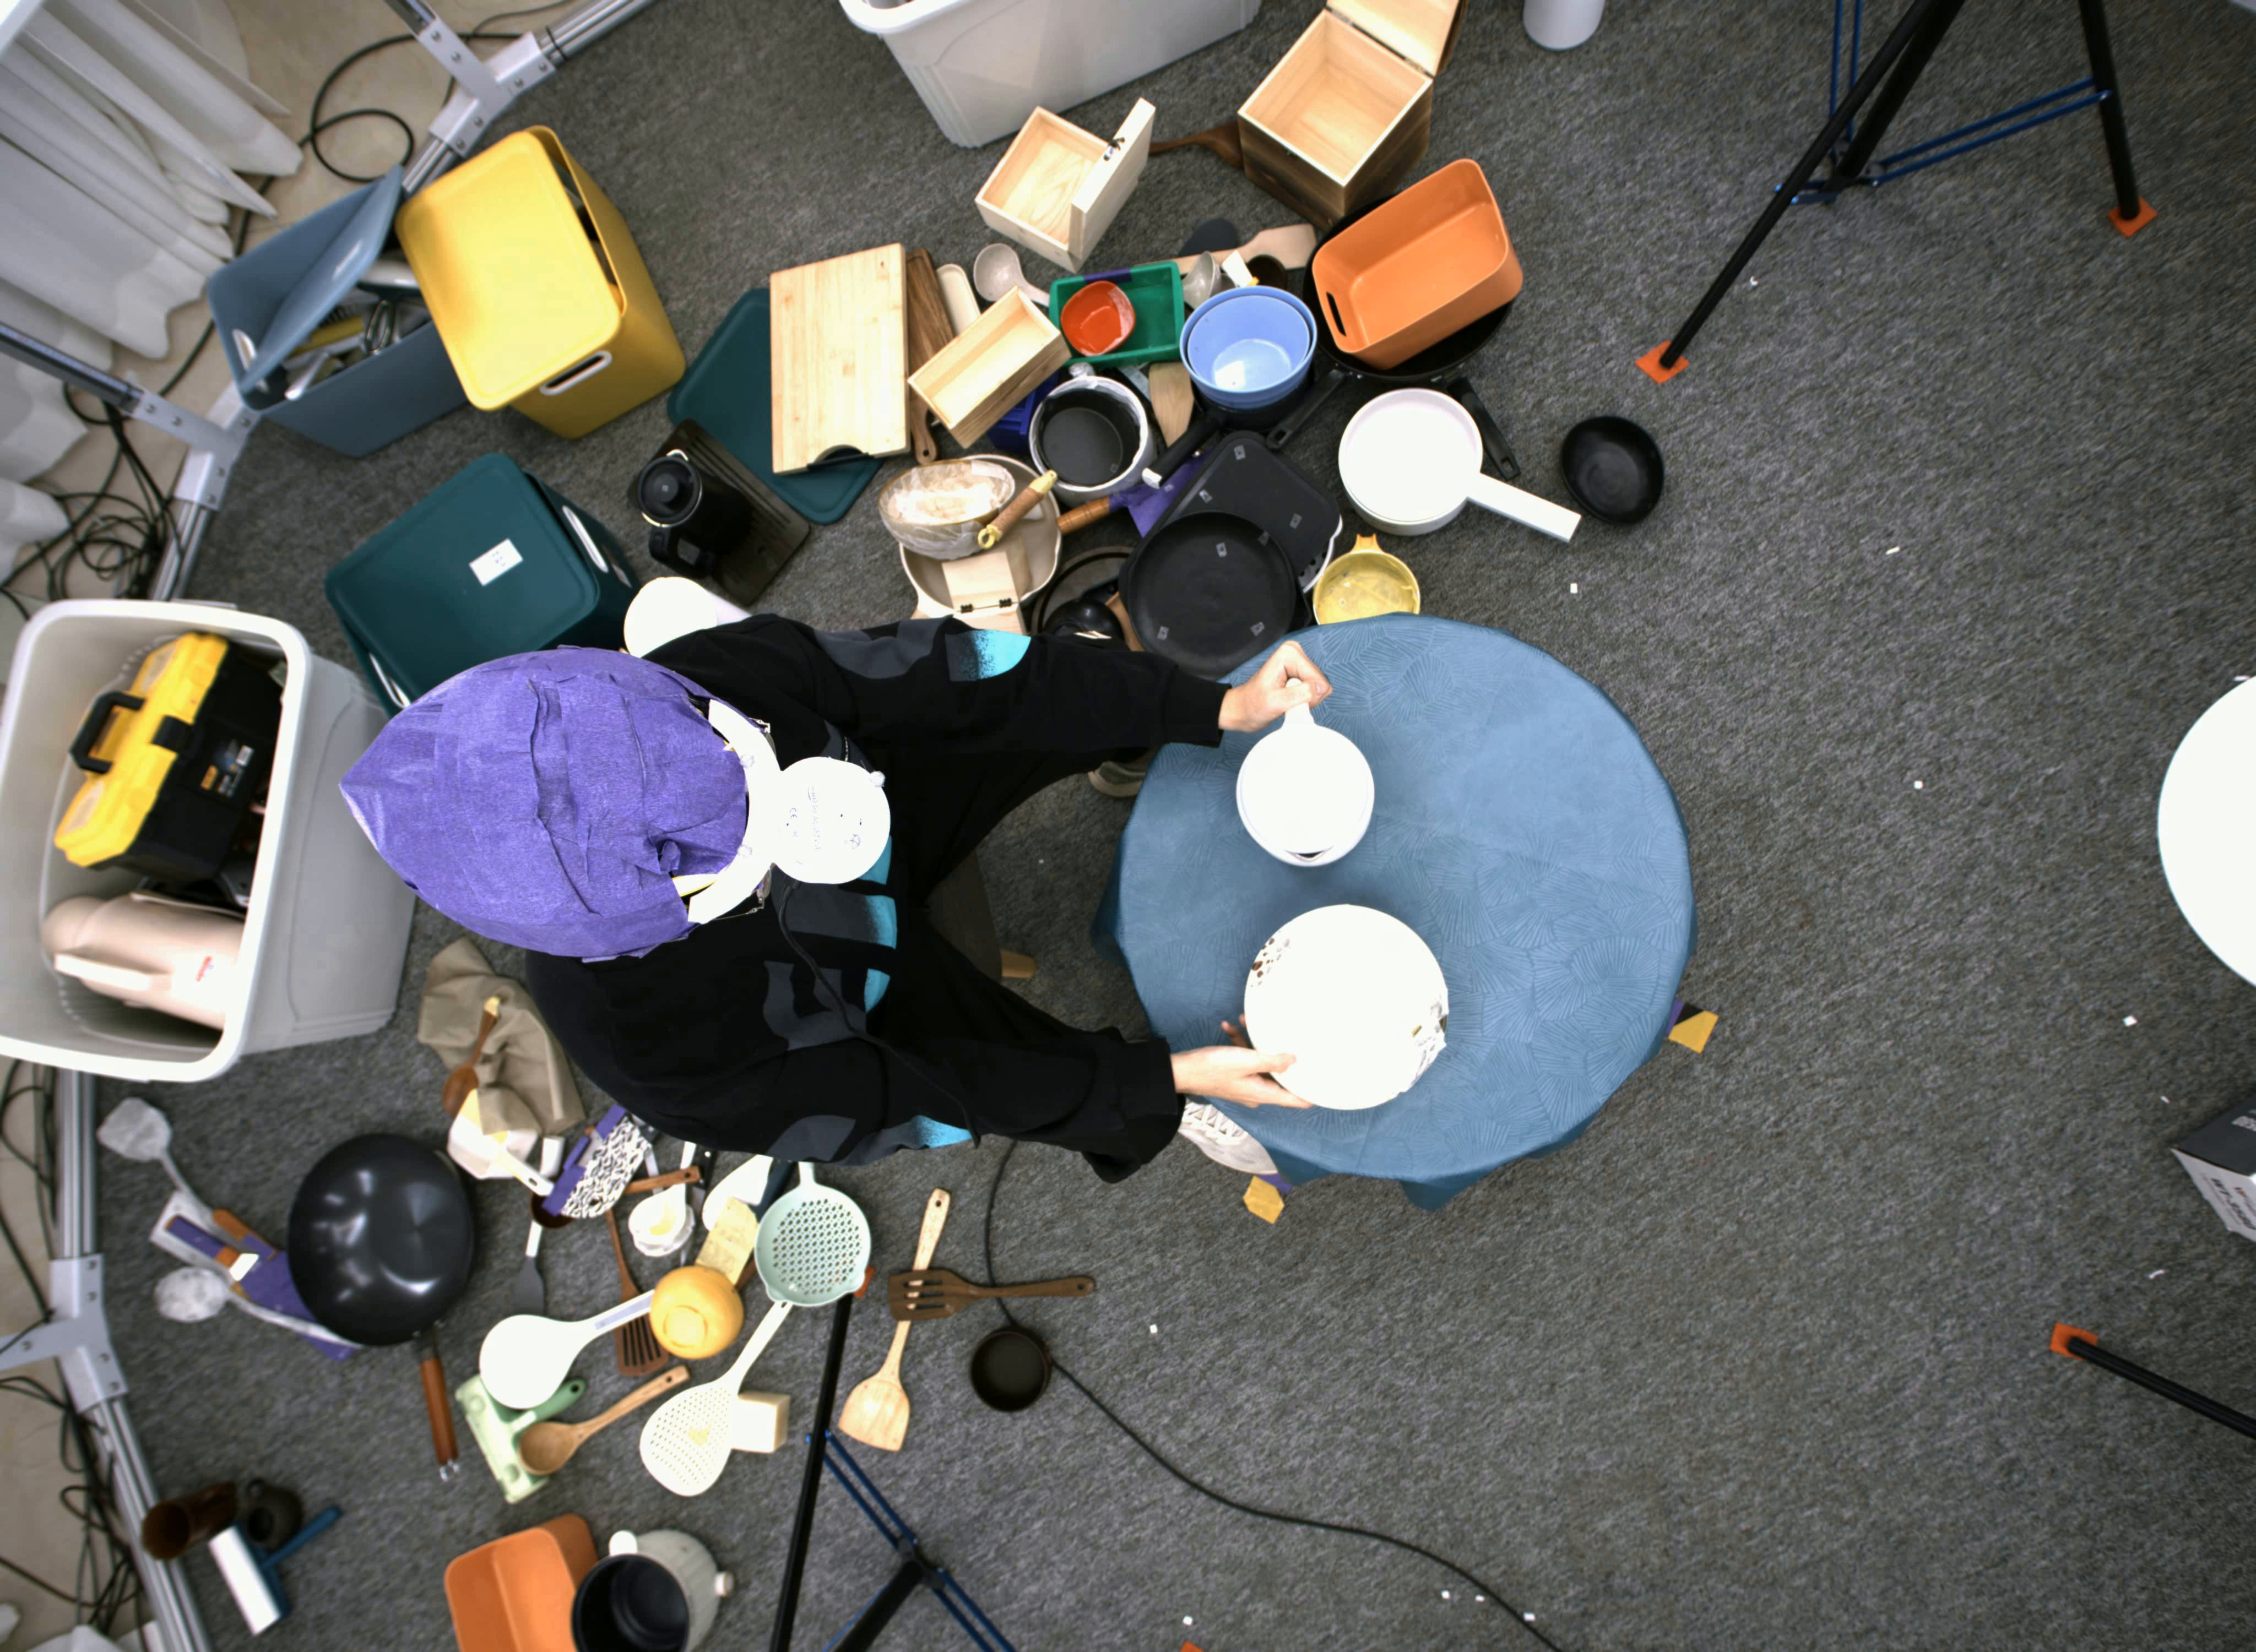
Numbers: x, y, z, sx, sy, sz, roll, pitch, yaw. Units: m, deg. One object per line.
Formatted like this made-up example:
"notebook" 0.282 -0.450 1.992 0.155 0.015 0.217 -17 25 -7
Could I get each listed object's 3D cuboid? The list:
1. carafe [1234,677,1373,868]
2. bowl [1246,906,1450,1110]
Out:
"carafe" 0.170 -0.053 1.354 0.133 0.183 0.190 -7 84 8
"bowl" 0.226 0.184 1.420 0.205 0.078 0.203 -1 86 13
